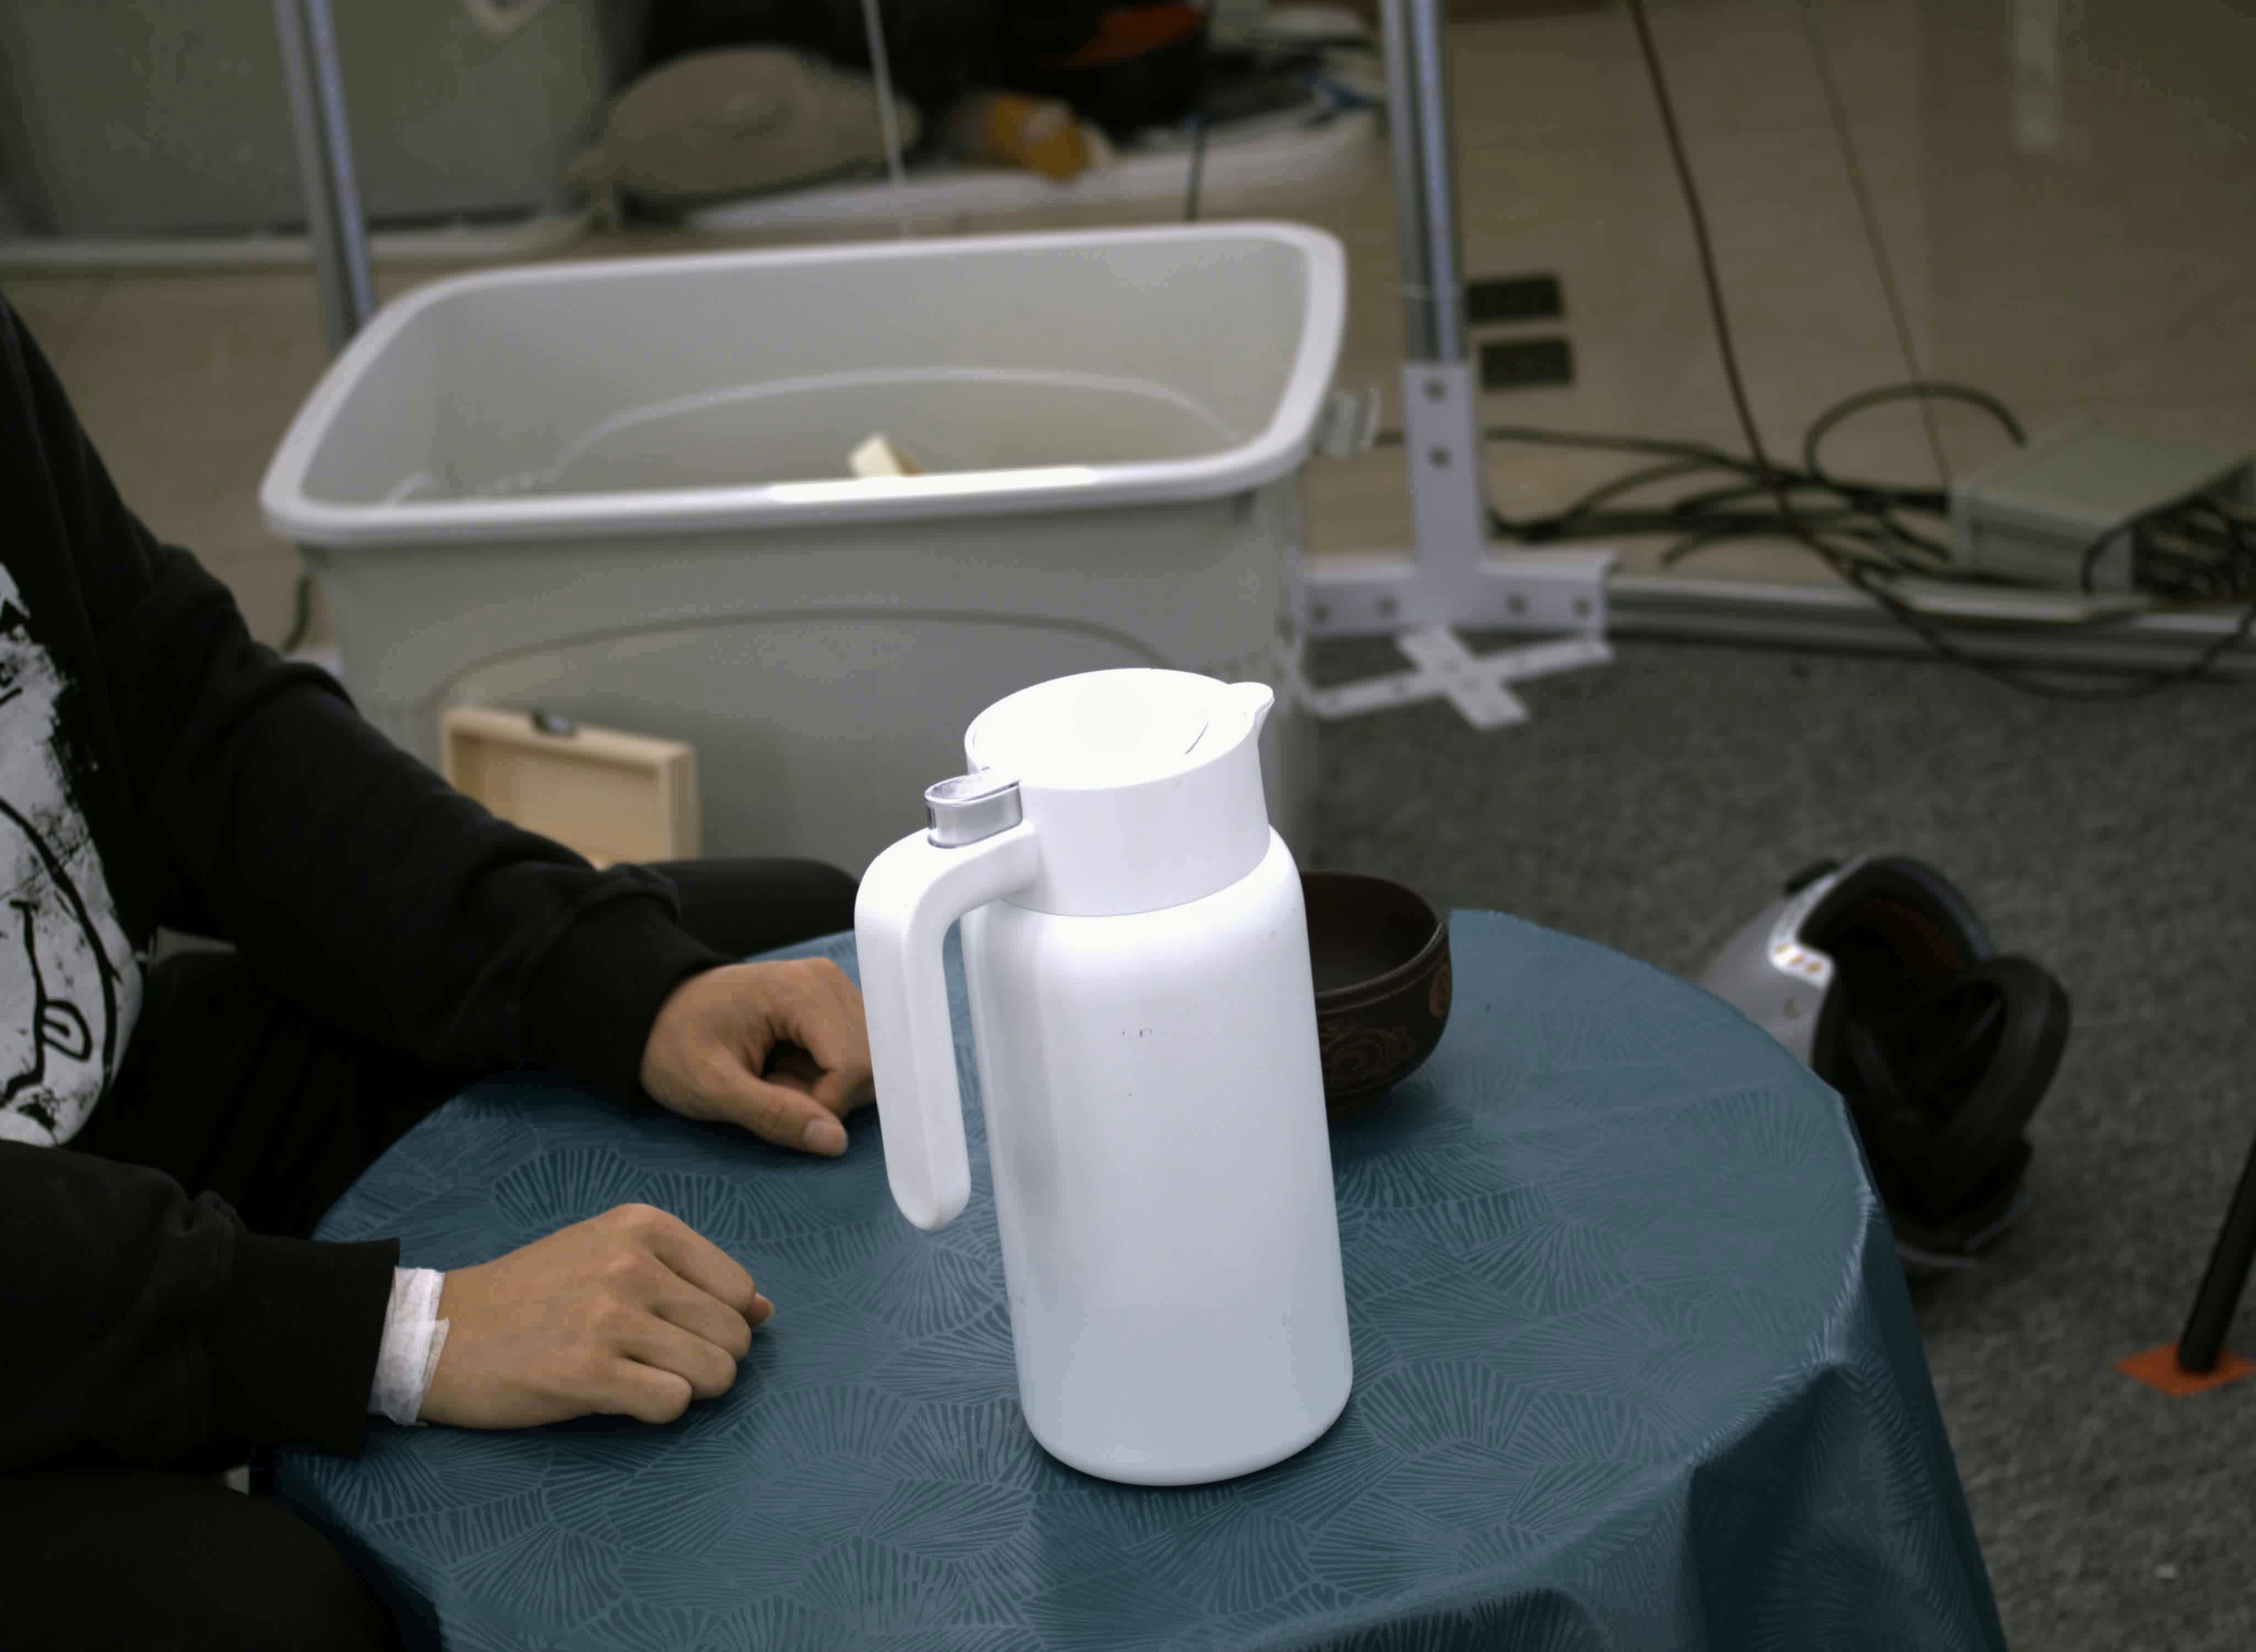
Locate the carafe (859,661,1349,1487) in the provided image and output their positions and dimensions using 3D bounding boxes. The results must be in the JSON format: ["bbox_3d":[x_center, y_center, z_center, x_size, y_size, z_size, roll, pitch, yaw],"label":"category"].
[{"bbox_3d":[-0.005,0.092,1.931,0.171,0.273,0.122,-25,33,-34],"label":"carafe"}]

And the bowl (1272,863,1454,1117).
[{"bbox_3d":[0.068,0.070,2.193,0.118,0.071,0.116,-6,26,3],"label":"bowl"}]
